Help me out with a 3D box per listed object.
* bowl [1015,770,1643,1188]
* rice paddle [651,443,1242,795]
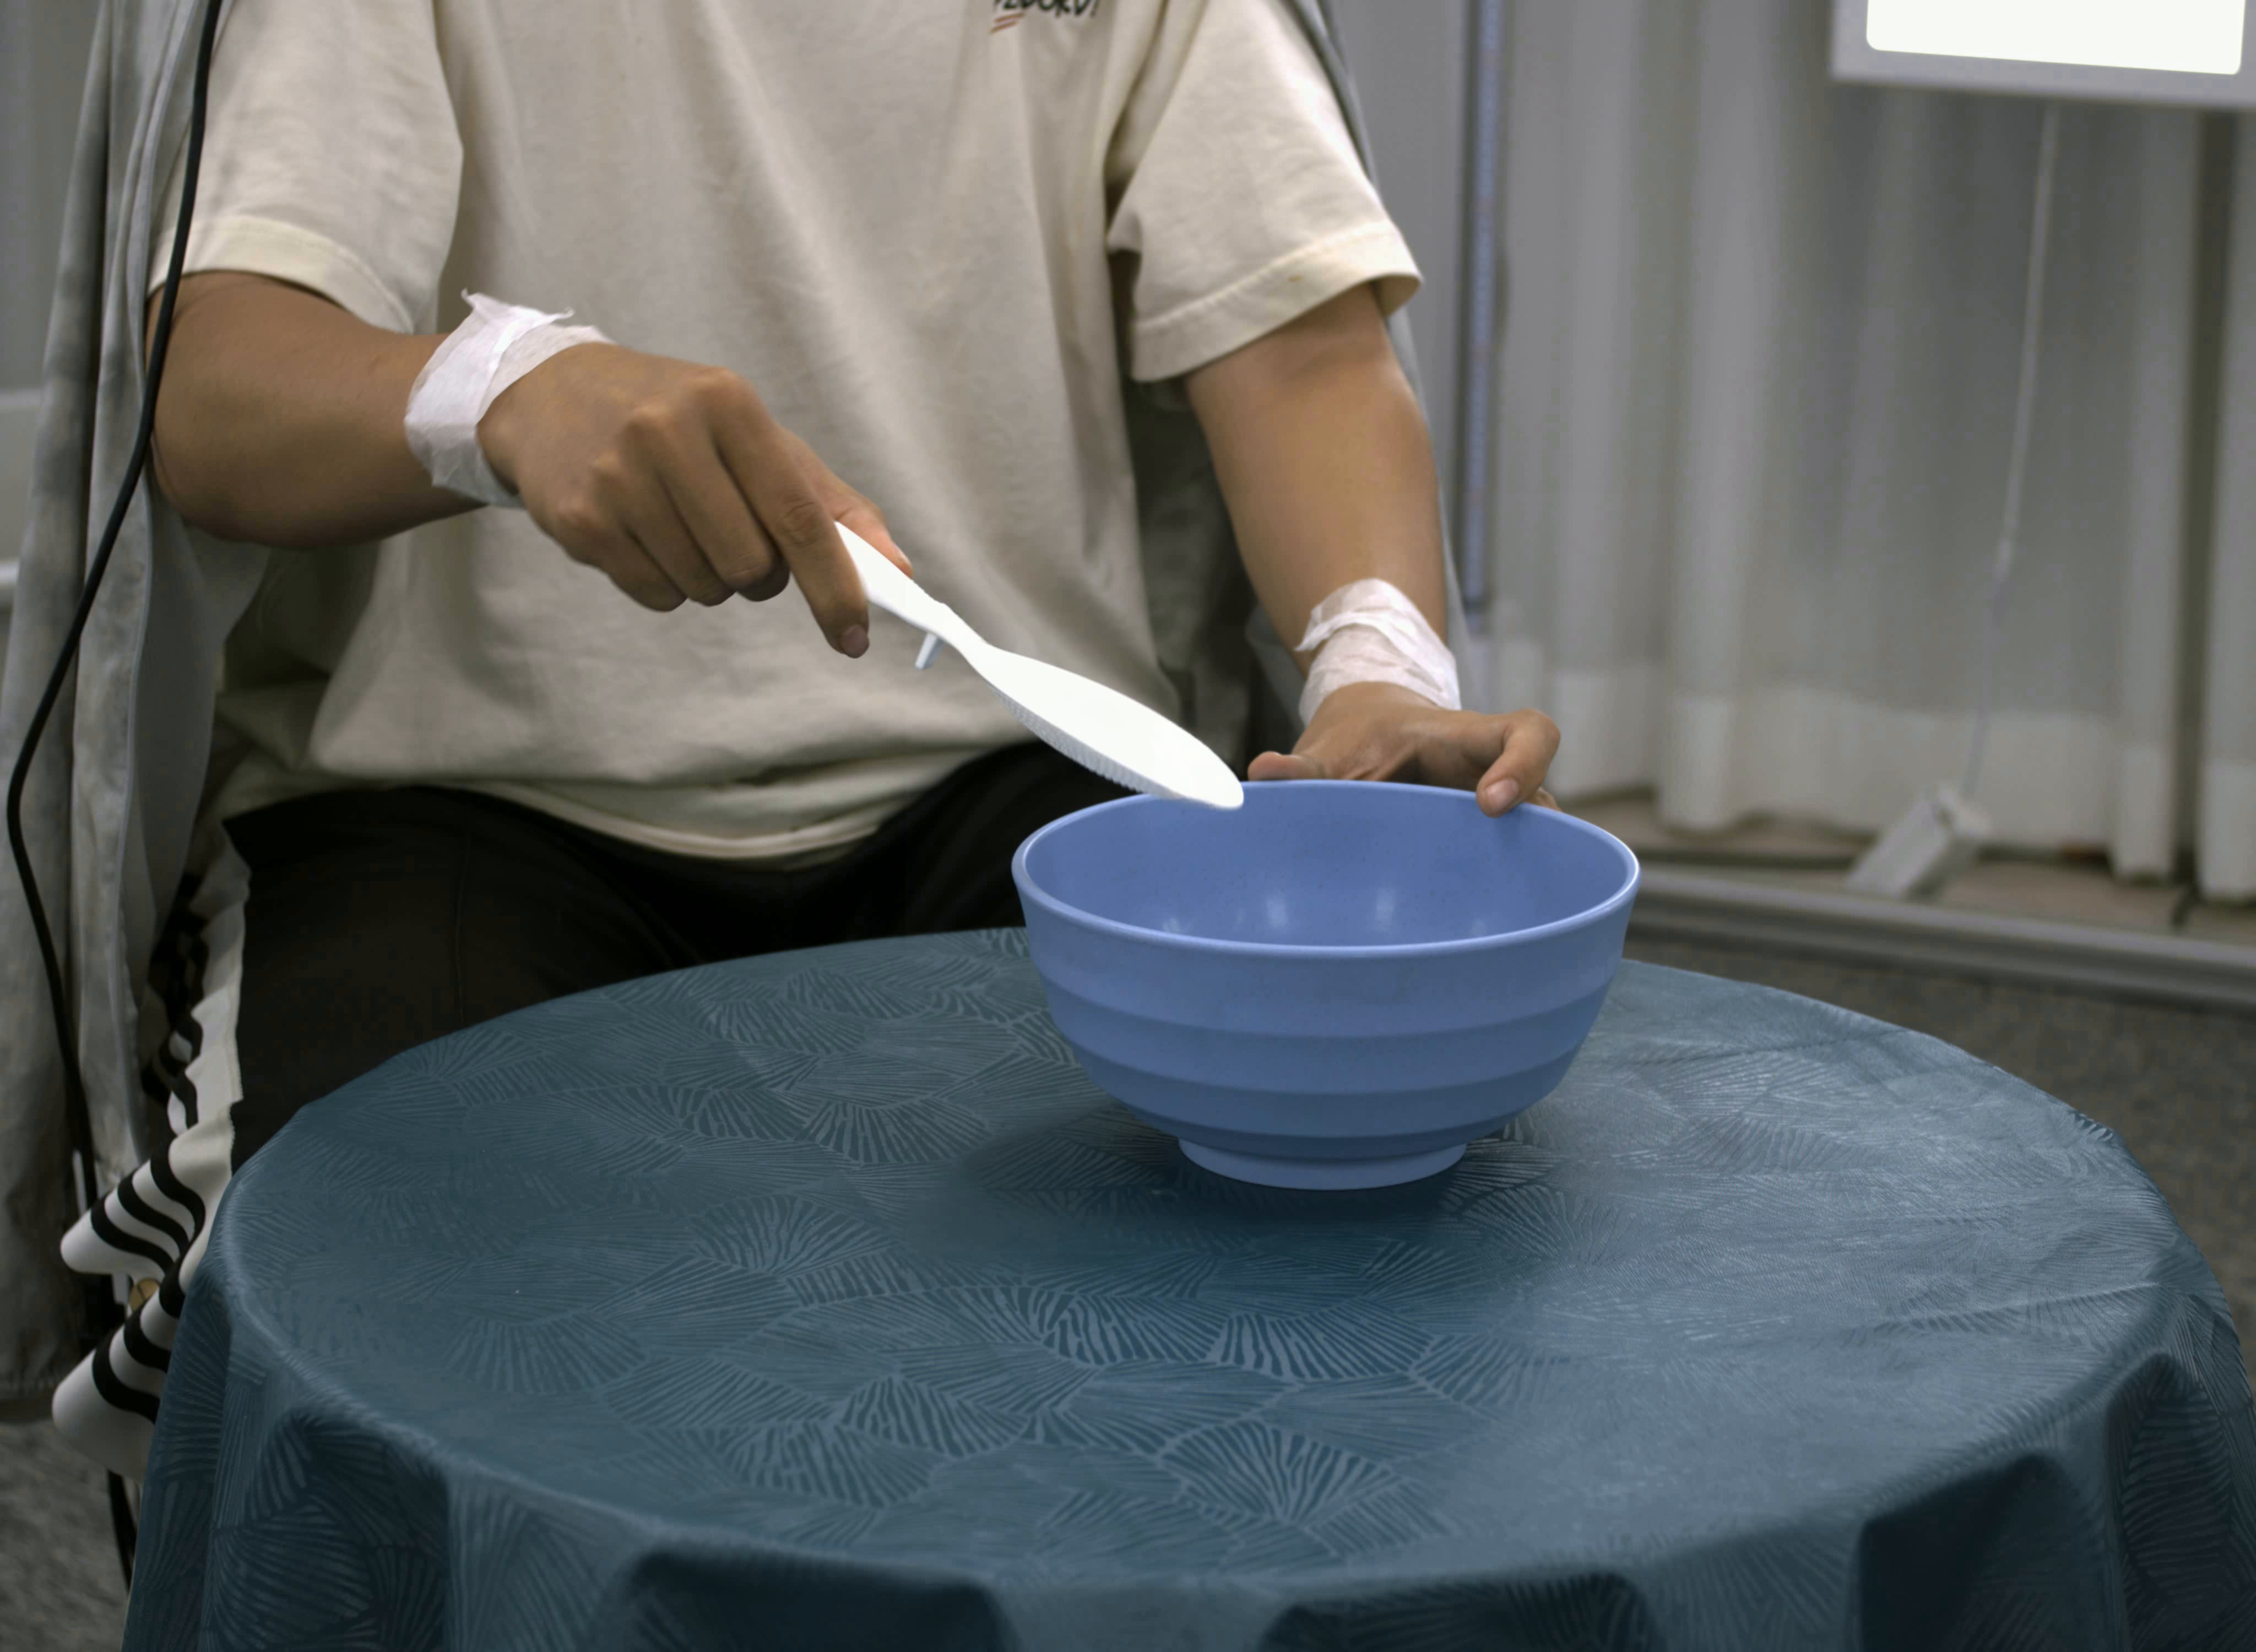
[{"bbox_3d":[0.062,0.054,1.657,0.196,0.096,0.195,1,17,0],"label":"bowl"},{"bbox_3d":[-0.053,-0.060,1.627,0.204,0.029,0.069,28,18,10],"label":"rice paddle"}]
